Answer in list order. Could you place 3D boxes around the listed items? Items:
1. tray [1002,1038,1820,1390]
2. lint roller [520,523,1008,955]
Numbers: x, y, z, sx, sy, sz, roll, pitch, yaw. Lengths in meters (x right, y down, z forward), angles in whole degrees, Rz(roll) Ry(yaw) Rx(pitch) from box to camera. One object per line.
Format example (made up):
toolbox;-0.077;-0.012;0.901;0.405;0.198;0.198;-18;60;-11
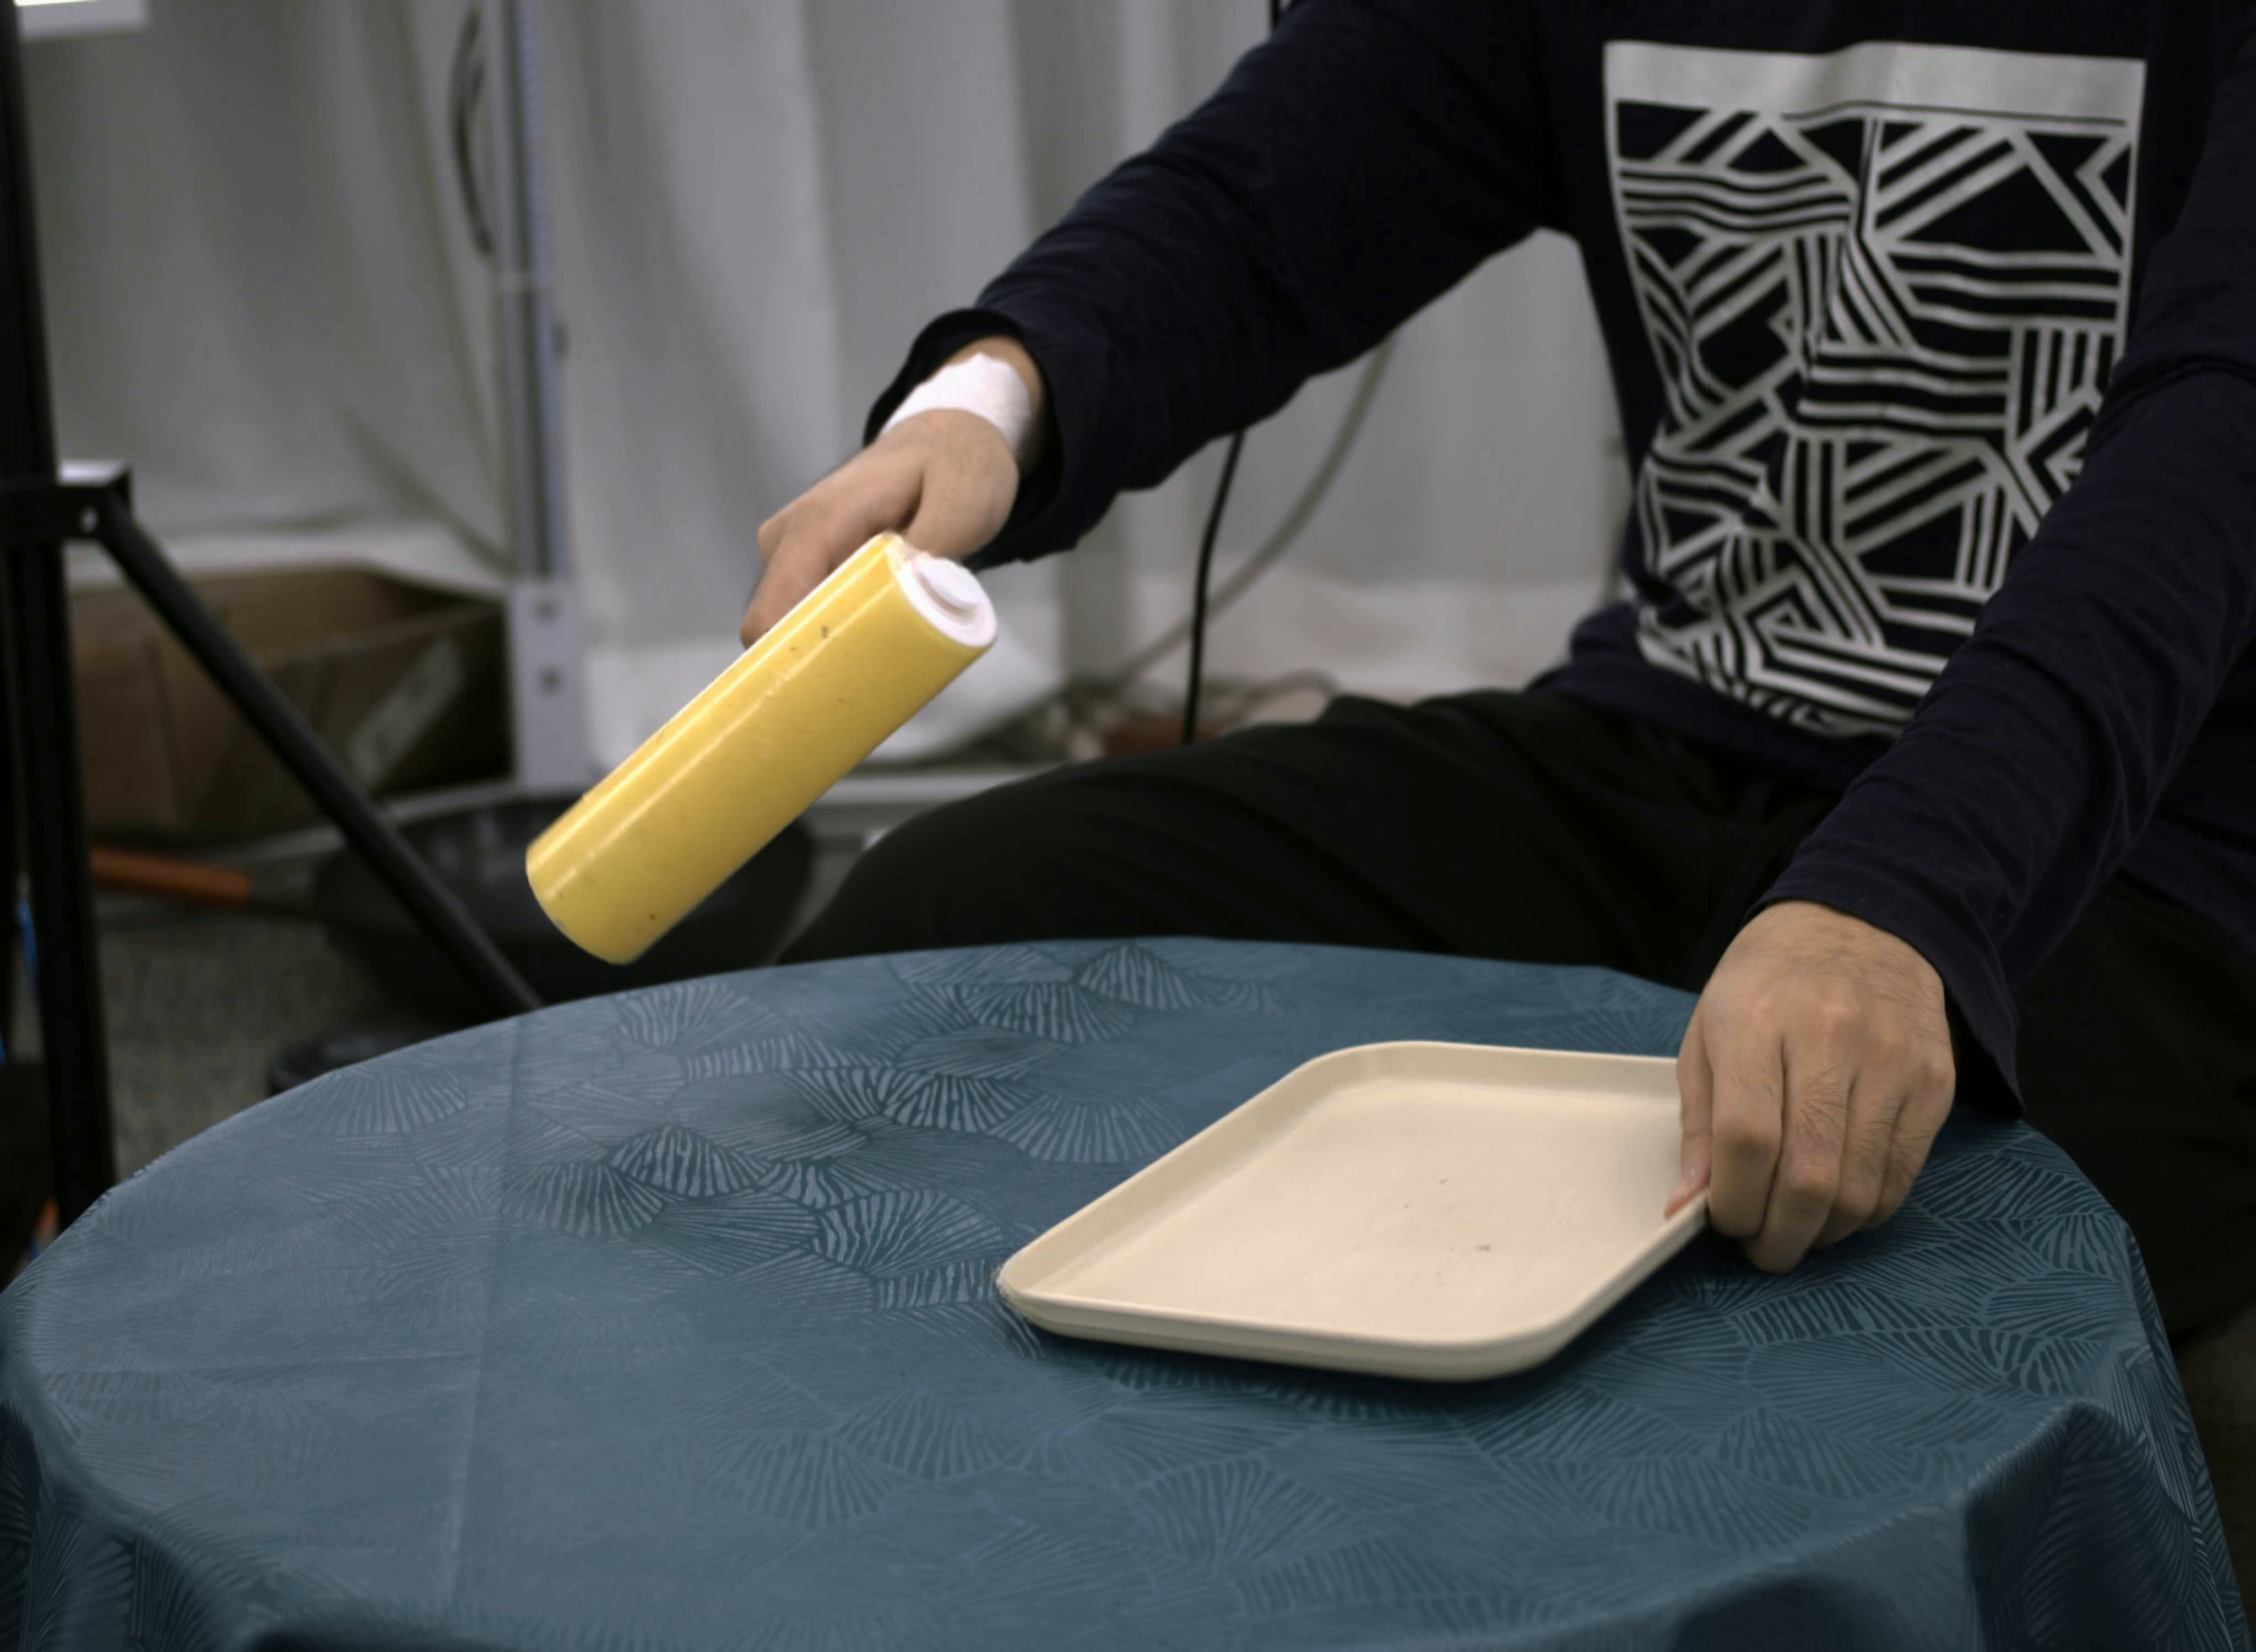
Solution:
tray;0.084;0.108;1.504;0.174;0.017;0.235;5;18;29
lint roller;-0.101;-0.057;1.652;0.176;0.051;0.192;-38;18;24
